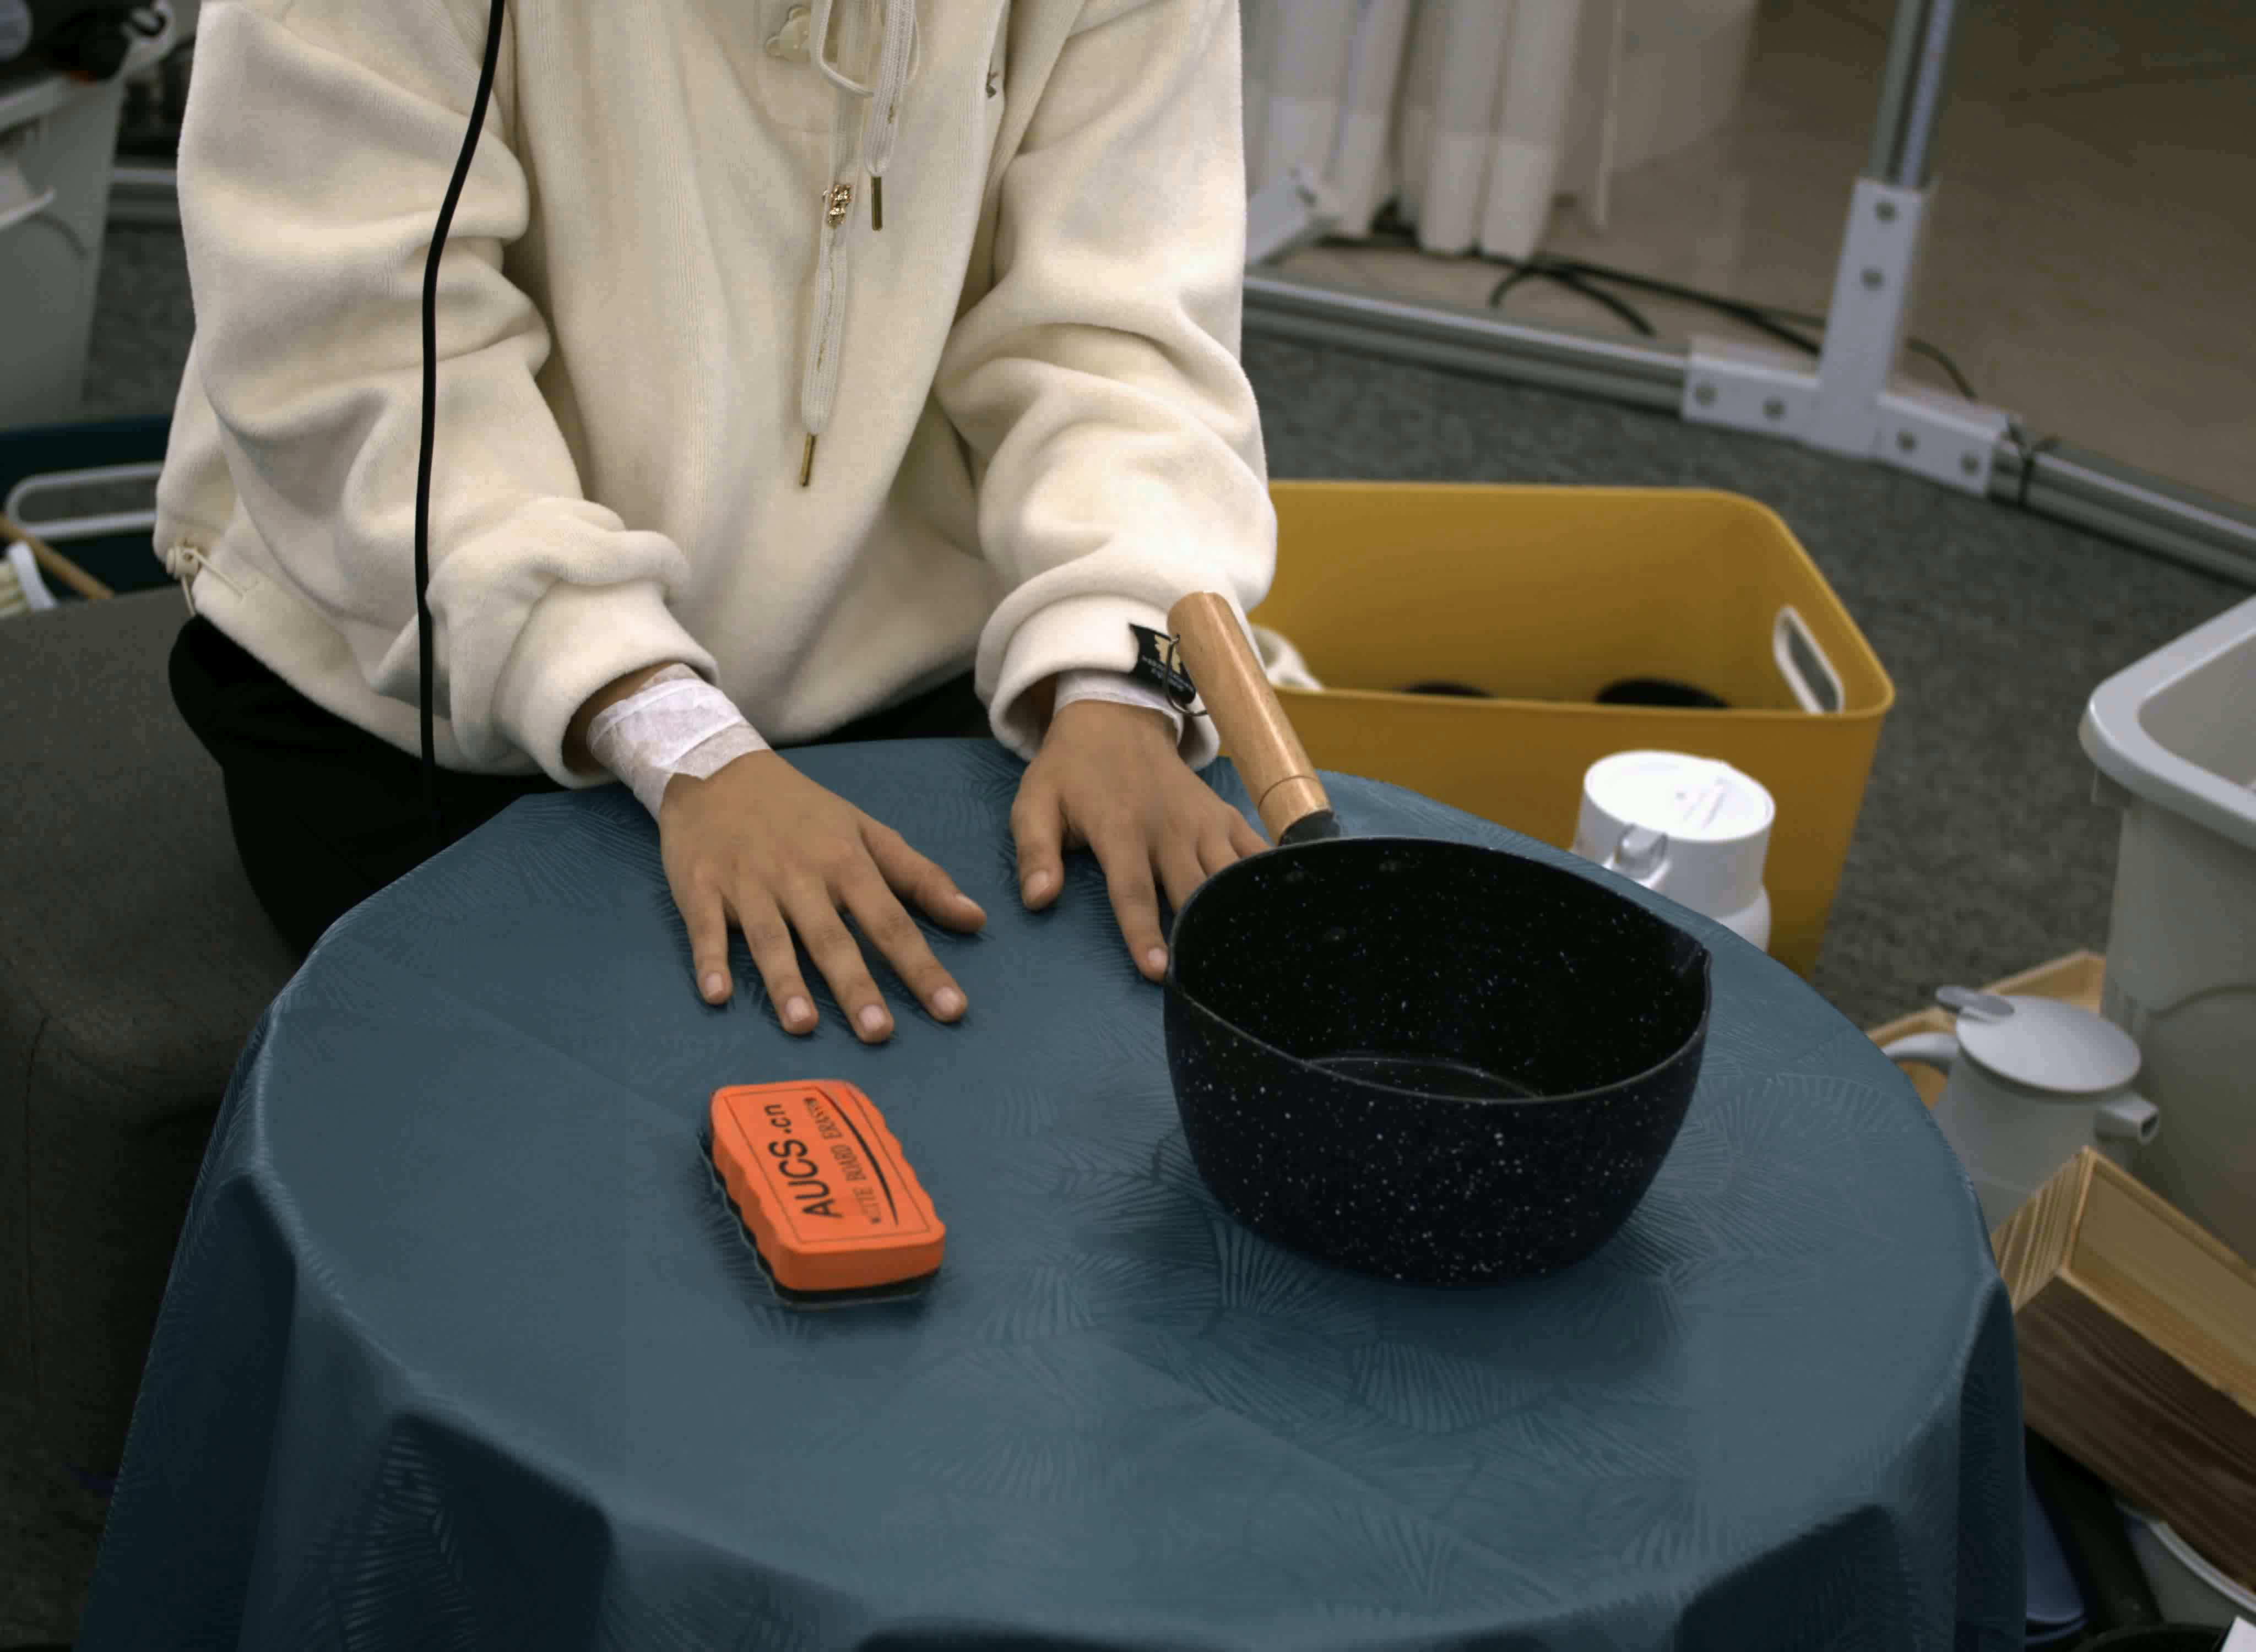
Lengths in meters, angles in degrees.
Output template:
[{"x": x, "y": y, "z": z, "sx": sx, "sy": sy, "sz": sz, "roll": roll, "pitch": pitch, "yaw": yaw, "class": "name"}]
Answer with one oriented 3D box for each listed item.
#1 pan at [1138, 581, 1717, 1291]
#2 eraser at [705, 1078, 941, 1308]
[{"x": 0.075, "y": 0.036, "z": 1.872, "sx": 0.206, "sy": 0.108, "sz": 0.346, "roll": -6, "pitch": 31, "yaw": -20, "class": "pan"}, {"x": -0.101, "y": 0.120, "z": 1.759, "sx": 0.058, "sy": 0.023, "sz": 0.109, "roll": -3, "pitch": 29, "yaw": -18, "class": "eraser"}]
